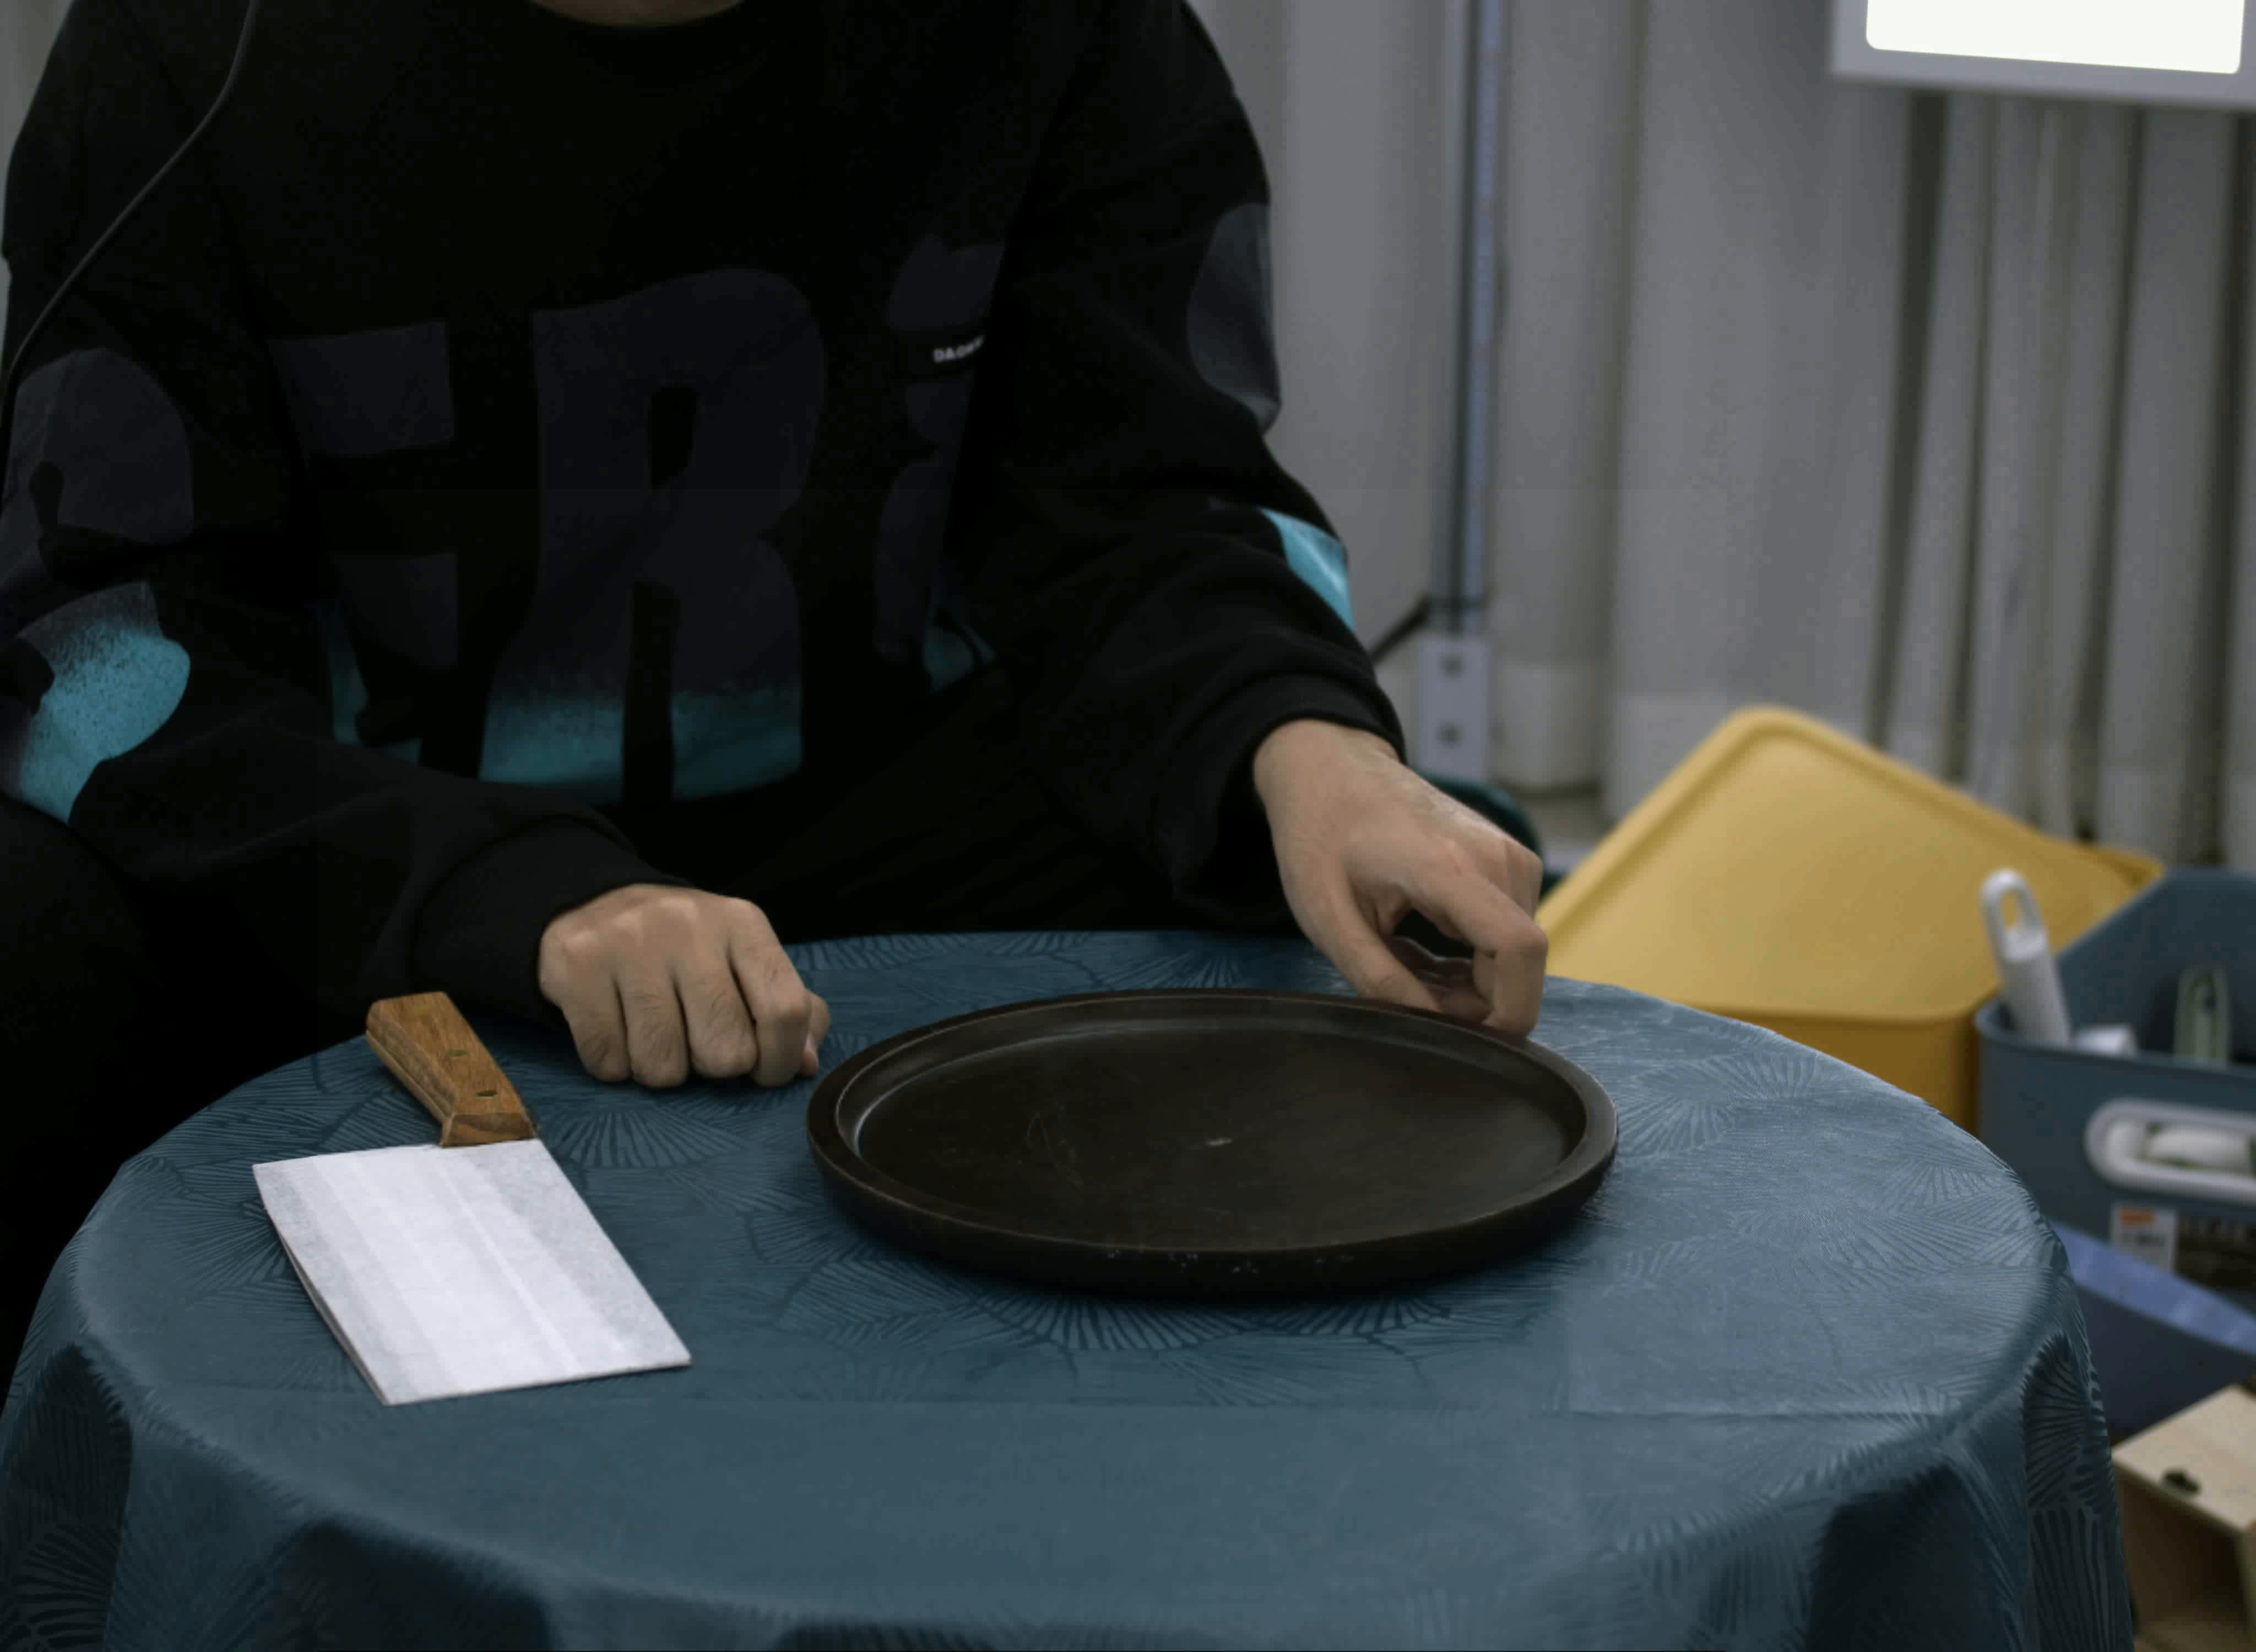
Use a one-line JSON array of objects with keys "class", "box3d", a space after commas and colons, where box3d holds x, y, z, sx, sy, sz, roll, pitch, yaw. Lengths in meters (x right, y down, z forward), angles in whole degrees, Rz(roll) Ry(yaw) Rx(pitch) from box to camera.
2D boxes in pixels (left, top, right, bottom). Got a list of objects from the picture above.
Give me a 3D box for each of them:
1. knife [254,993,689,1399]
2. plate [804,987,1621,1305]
[{"class": "knife", "box3d": [-0.213, 0.110, 1.595, 0.093, 0.021, 0.302, -7, 19, -19]}, {"class": "plate", "box3d": [0.026, 0.096, 1.633, 0.254, 0.029, 0.253, 0, 17, 1]}]
